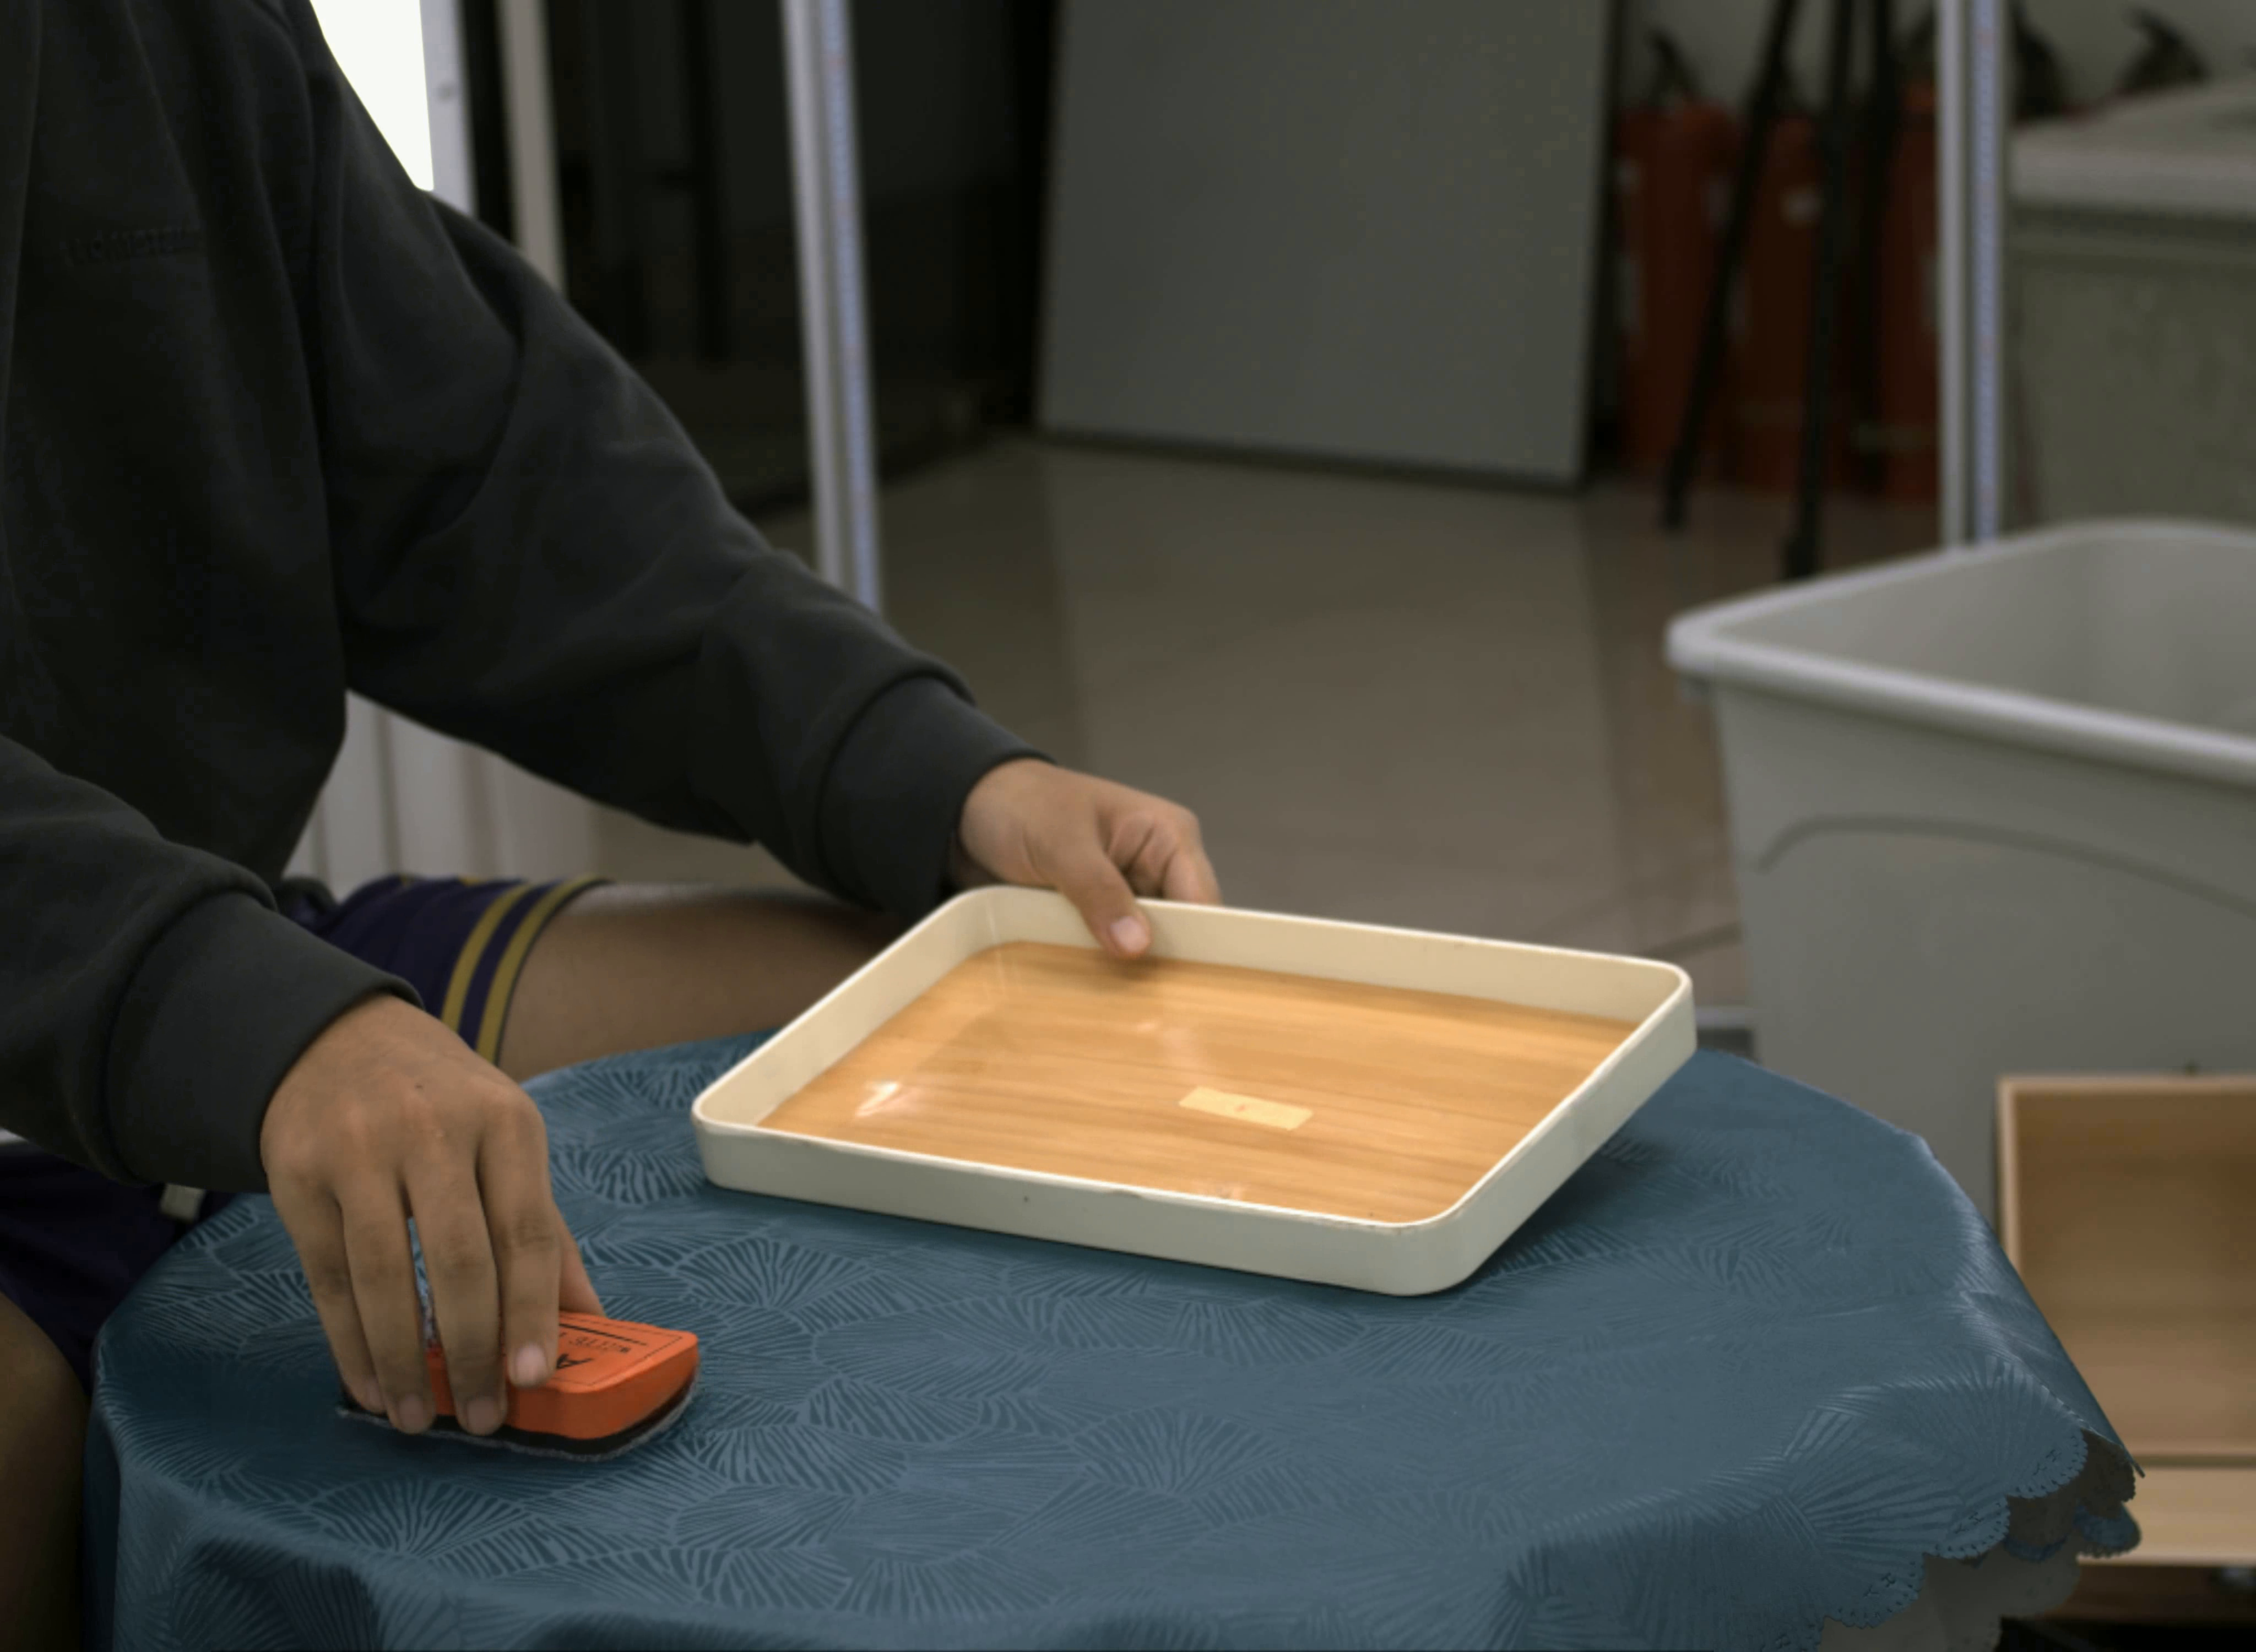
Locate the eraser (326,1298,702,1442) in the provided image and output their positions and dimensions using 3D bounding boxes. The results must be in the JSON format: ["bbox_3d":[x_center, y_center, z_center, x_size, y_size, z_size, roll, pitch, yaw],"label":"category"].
[{"bbox_3d":[-0.181,0.160,1.599,0.108,0.023,0.058,3,9,34],"label":"eraser"}]

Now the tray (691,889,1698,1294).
[{"bbox_3d":[0.021,0.084,1.787,0.302,0.027,0.189,6,28,35],"label":"tray"}]
